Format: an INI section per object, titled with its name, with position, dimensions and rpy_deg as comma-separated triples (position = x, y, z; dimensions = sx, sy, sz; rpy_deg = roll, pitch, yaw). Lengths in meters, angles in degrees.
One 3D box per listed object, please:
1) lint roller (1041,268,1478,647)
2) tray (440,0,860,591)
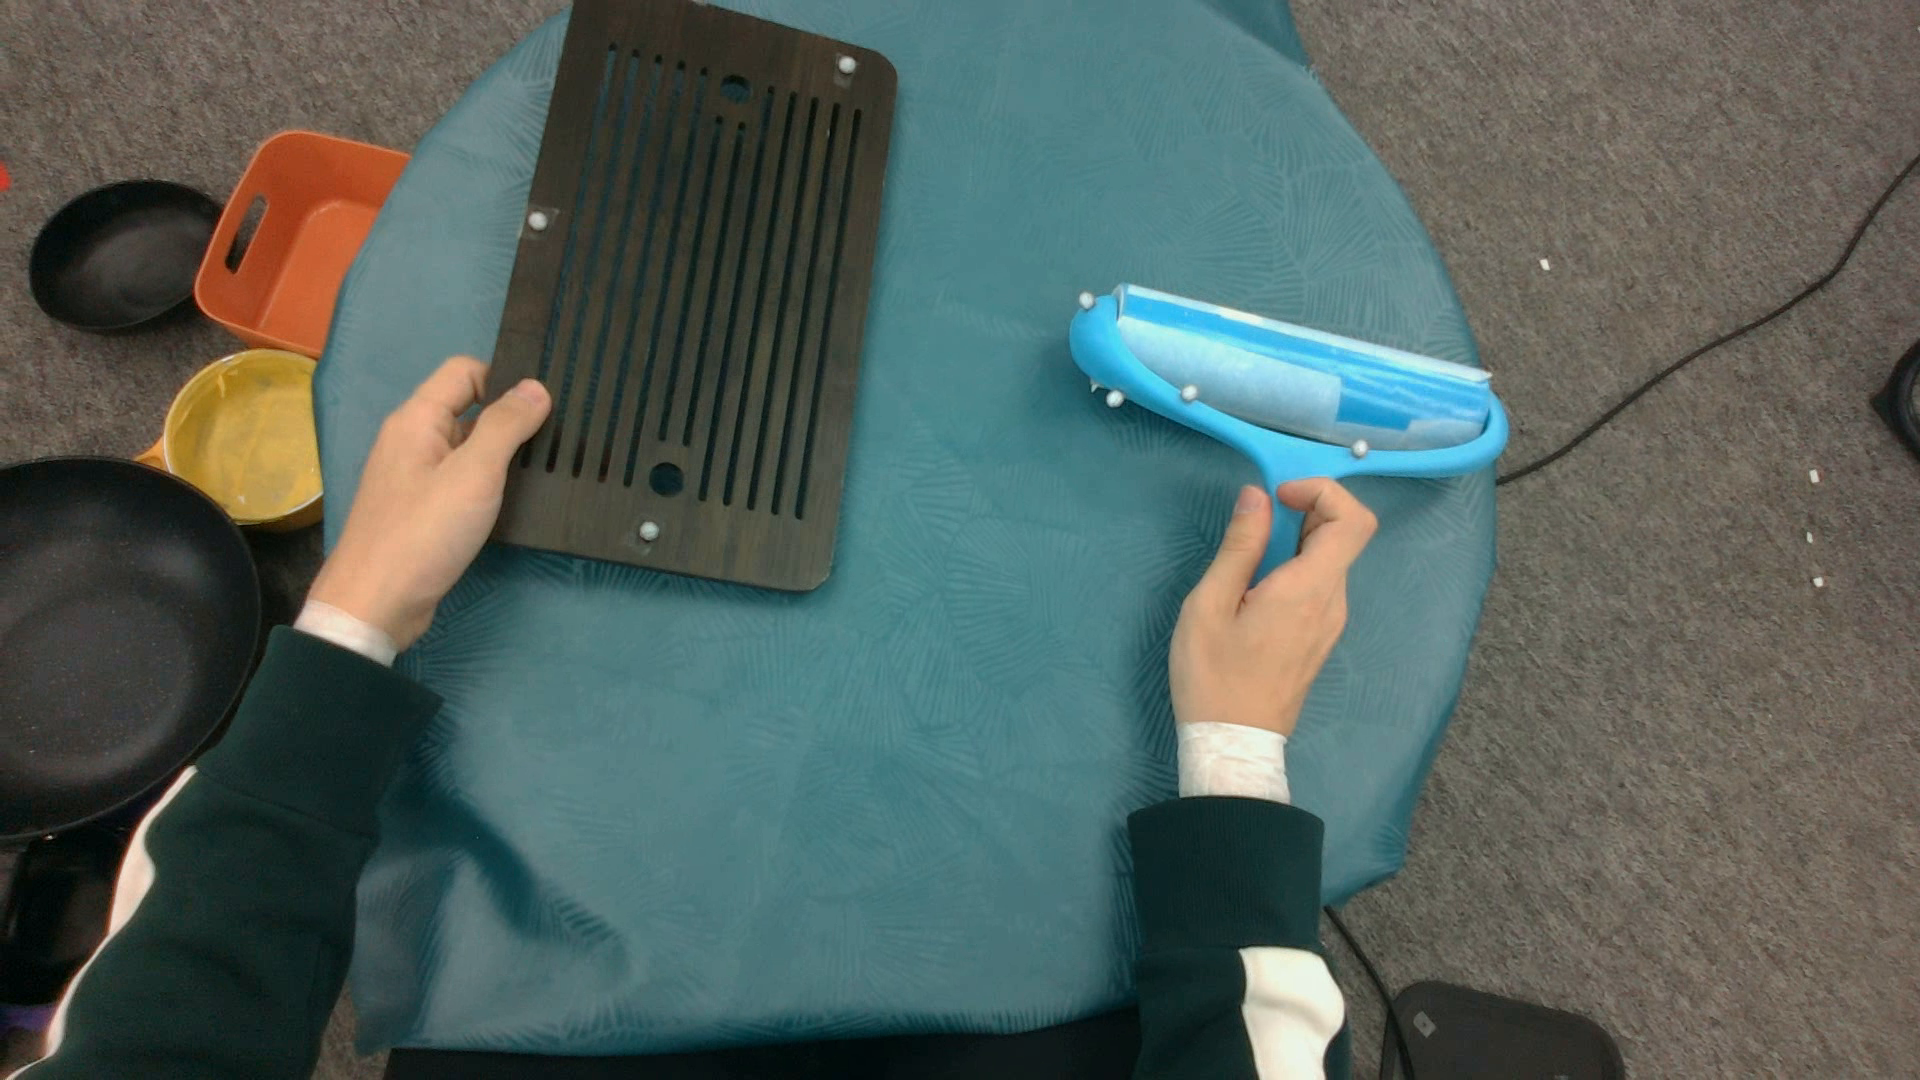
[lint roller]
position = 0.148, -0.040, 0.688
dimensions = 0.229, 0.067, 0.181
rpy_deg = 9, 71, -8
[tray]
position = -0.145, -0.130, 0.686
dimensions = 0.170, 0.018, 0.307
rpy_deg = 8, 71, -14
